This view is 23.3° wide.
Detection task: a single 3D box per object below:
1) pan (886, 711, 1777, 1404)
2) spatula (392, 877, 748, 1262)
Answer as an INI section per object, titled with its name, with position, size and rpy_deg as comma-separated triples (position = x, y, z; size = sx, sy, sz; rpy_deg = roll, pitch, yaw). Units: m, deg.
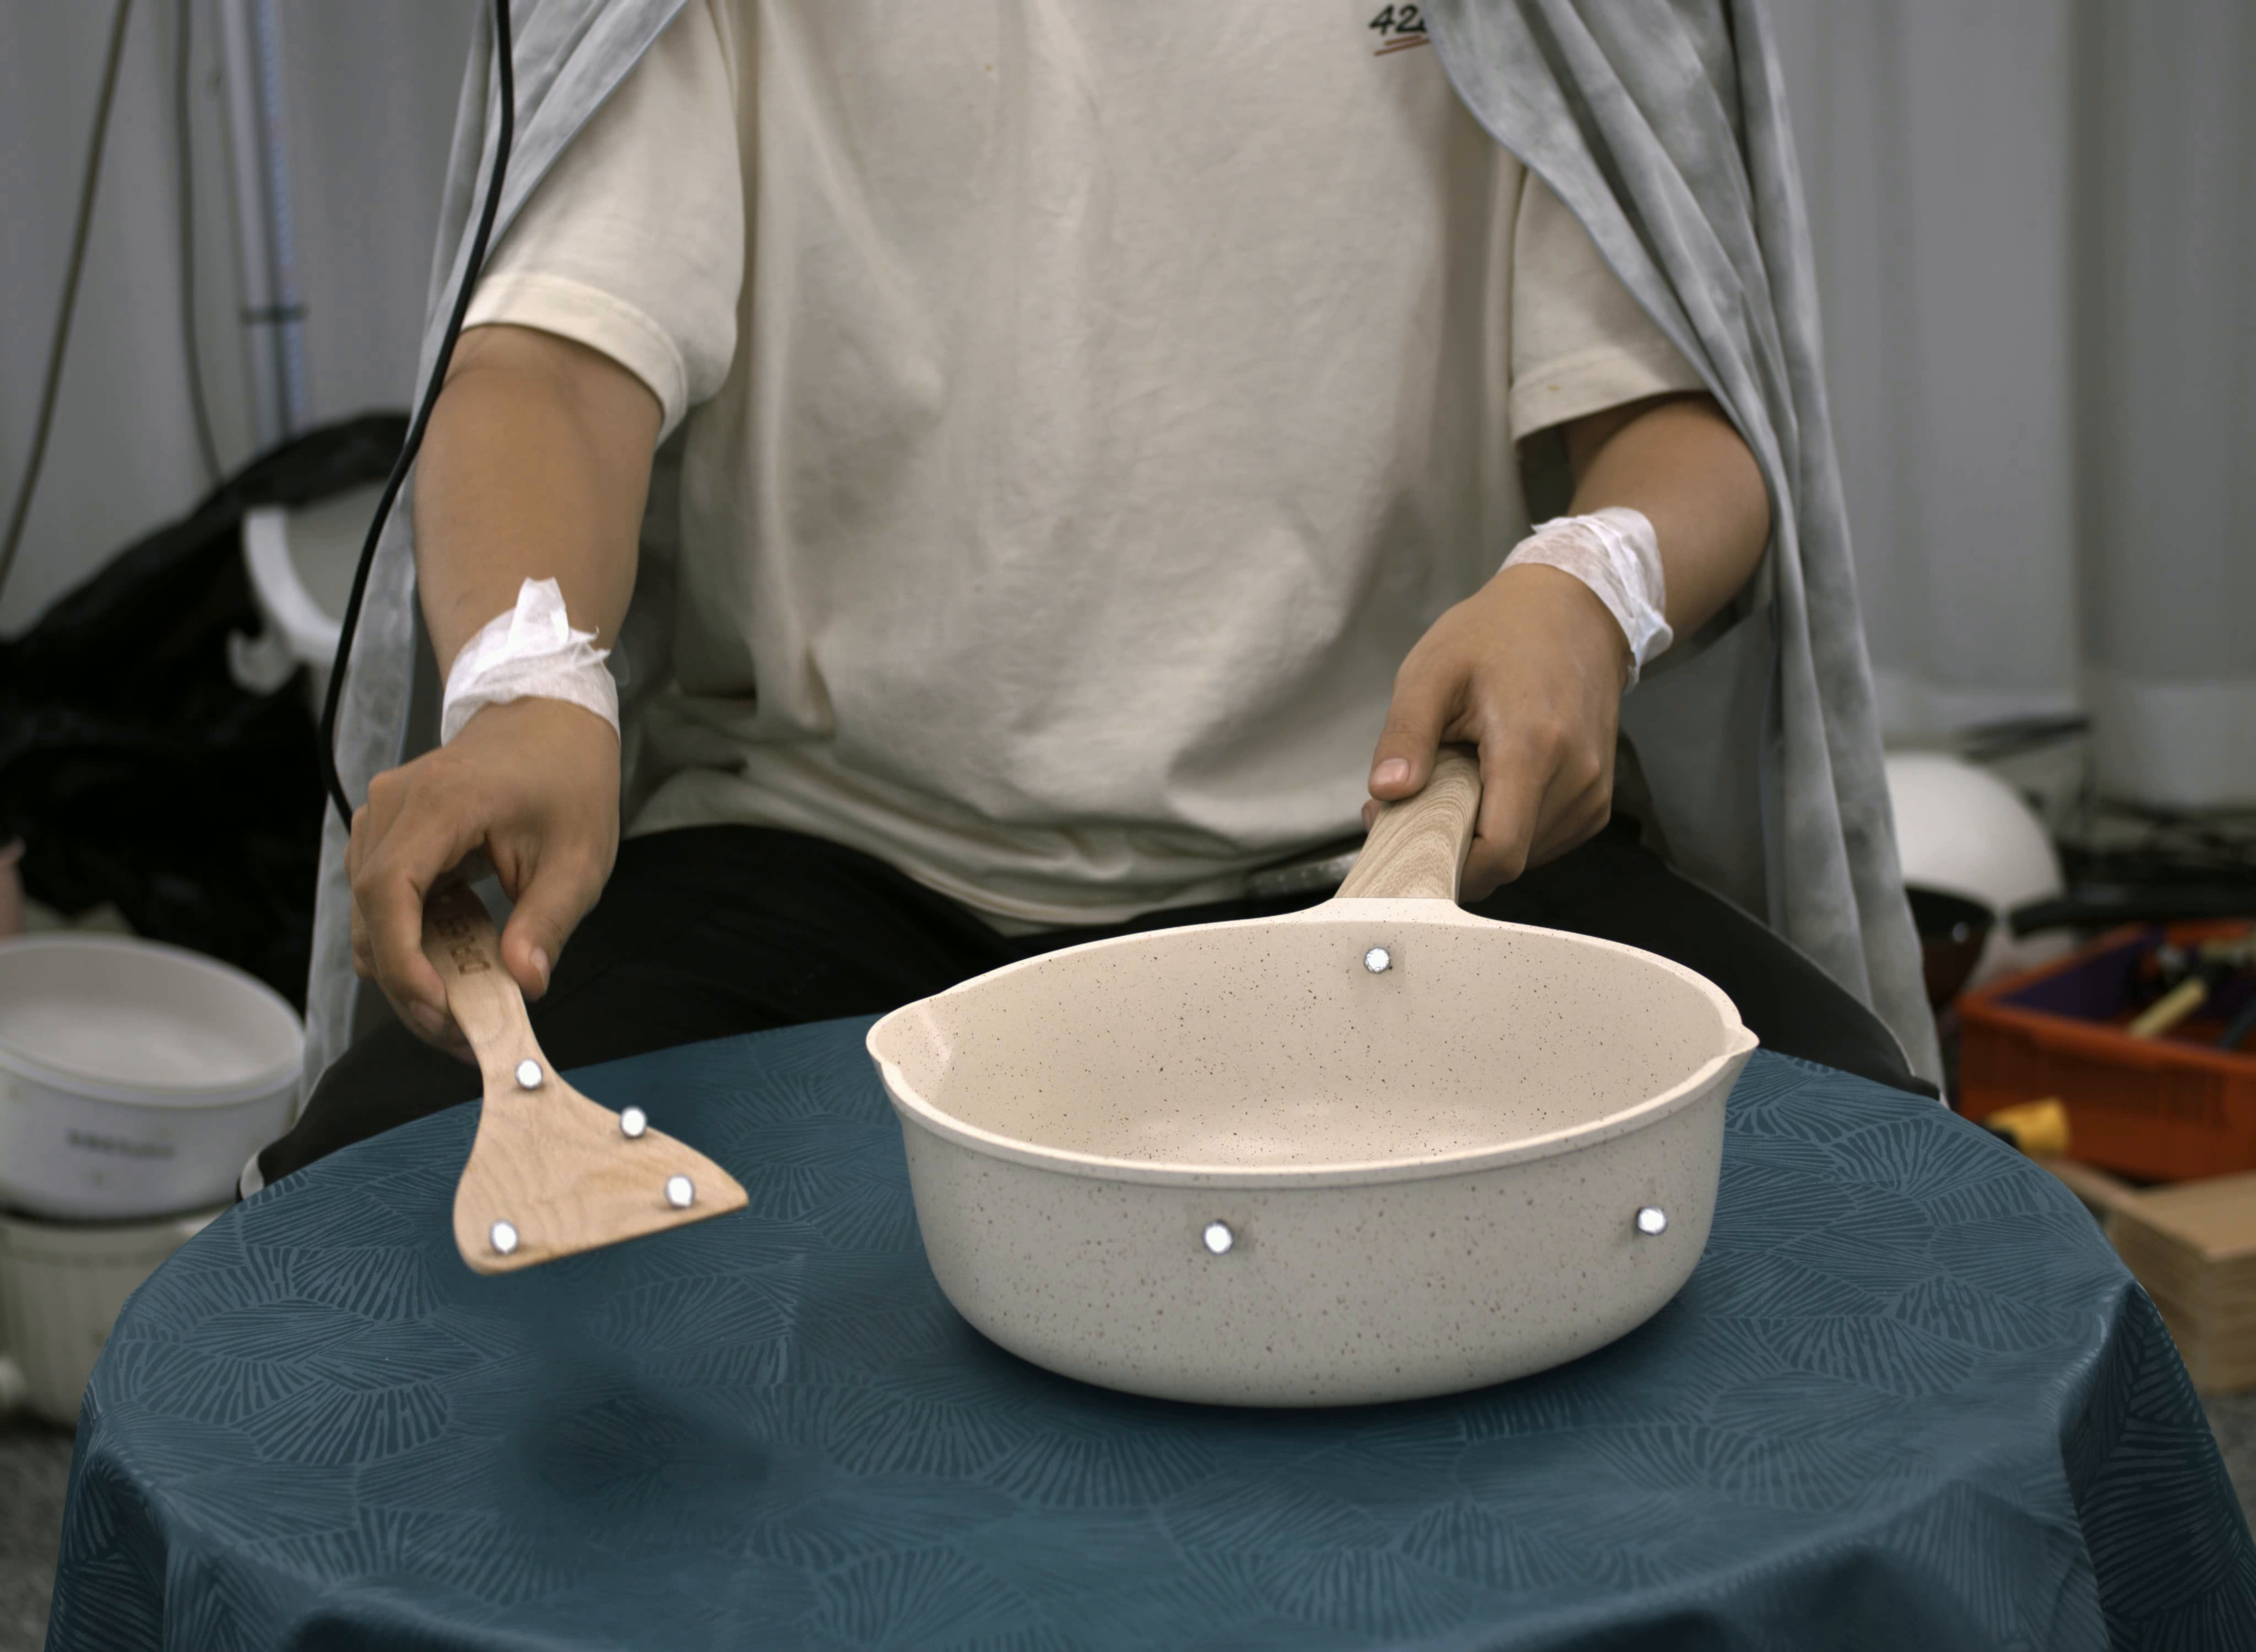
[pan]
position = 0.078, 0.067, 1.690
size = 0.263, 0.101, 0.437
rpy_deg = -1, 15, 12
[spatula]
position = -0.180, 0.066, 1.612
size = 0.079, 0.016, 0.331
rpy_deg = -10, 20, -13
